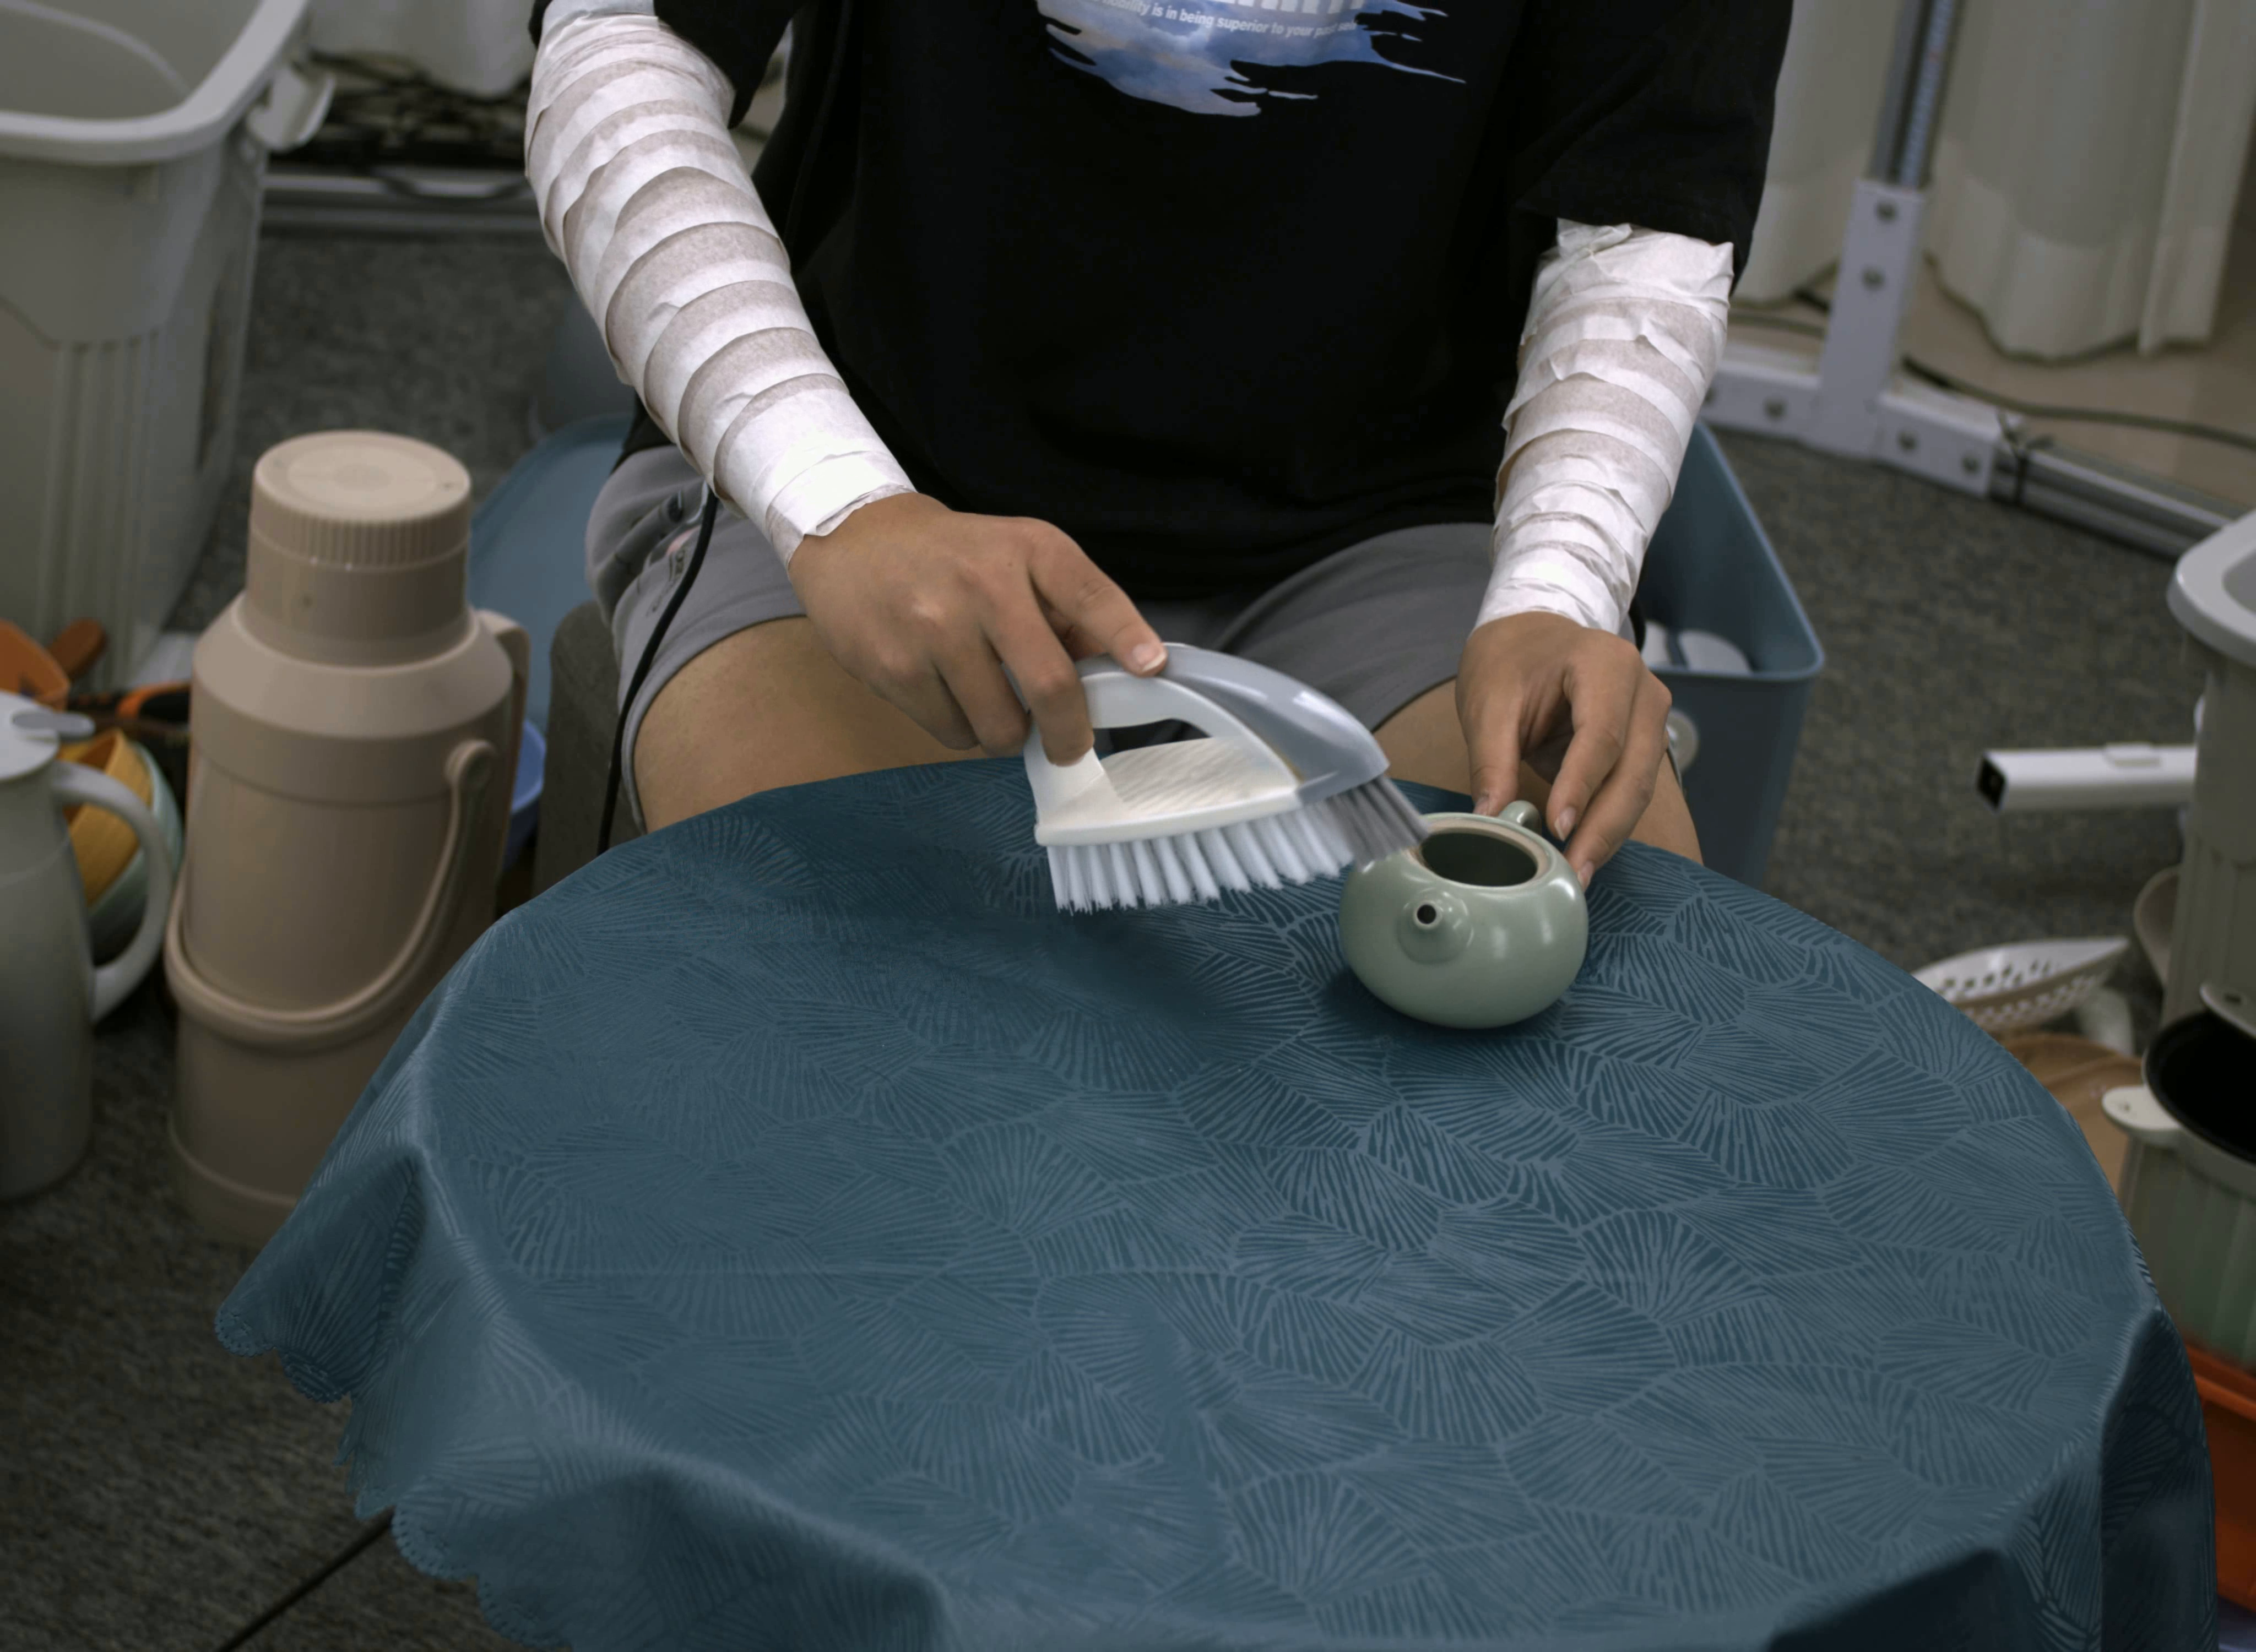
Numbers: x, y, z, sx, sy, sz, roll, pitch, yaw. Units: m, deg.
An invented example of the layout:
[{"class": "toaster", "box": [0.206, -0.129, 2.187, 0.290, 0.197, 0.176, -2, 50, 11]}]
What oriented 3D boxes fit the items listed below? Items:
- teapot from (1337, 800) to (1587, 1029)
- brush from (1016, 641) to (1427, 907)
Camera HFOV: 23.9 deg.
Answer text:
[{"class": "teapot", "box": [0.126, 0.032, 1.948, 0.092, 0.061, 0.128, 17, 28, 23]}, {"class": "brush", "box": [0.027, -0.025, 1.905, 0.176, 0.094, 0.061, -2, 33, 48]}]
